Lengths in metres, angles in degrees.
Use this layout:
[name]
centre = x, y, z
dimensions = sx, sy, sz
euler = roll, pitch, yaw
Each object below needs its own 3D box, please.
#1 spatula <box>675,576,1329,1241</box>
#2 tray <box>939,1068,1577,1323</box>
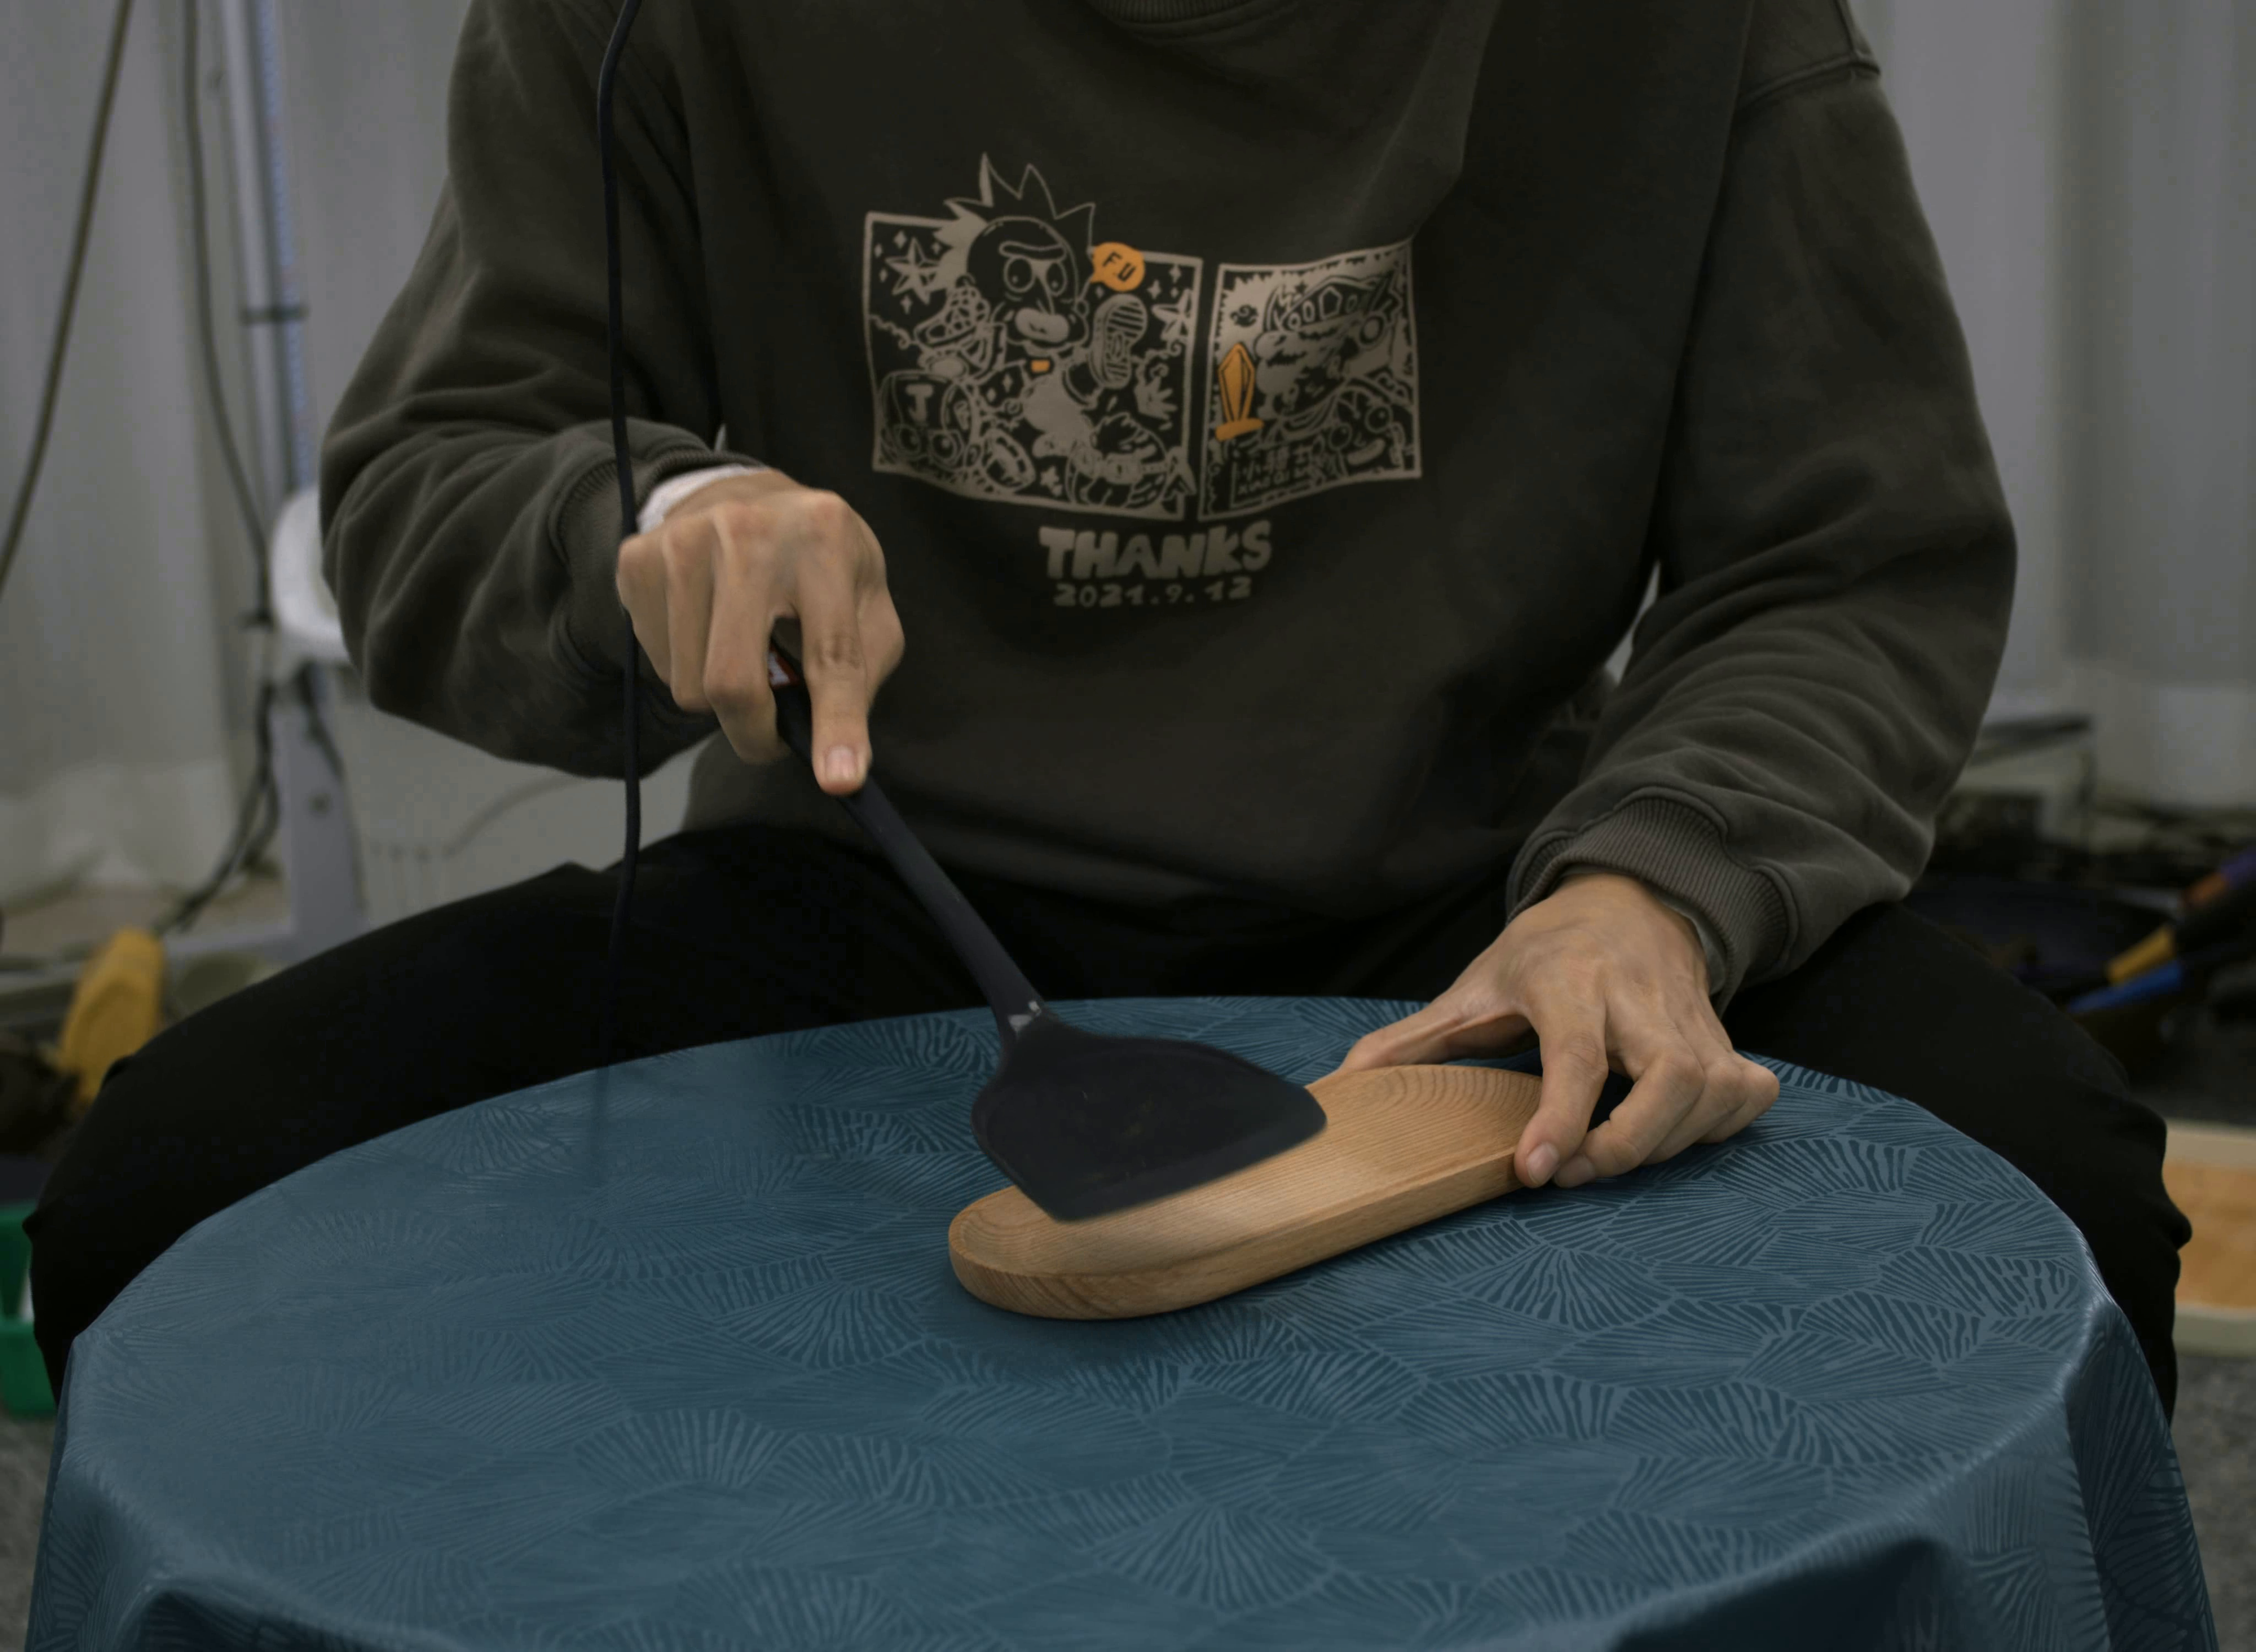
[spatula]
centre = -0.061, 0.016, 1.693
dimensions = 0.099, 0.040, 0.330
euler = -17, 50, -27
[tray]
centre = 0.043, 0.113, 1.689
dimensions = 0.231, 0.020, 0.102
euler = -17, 19, -38
